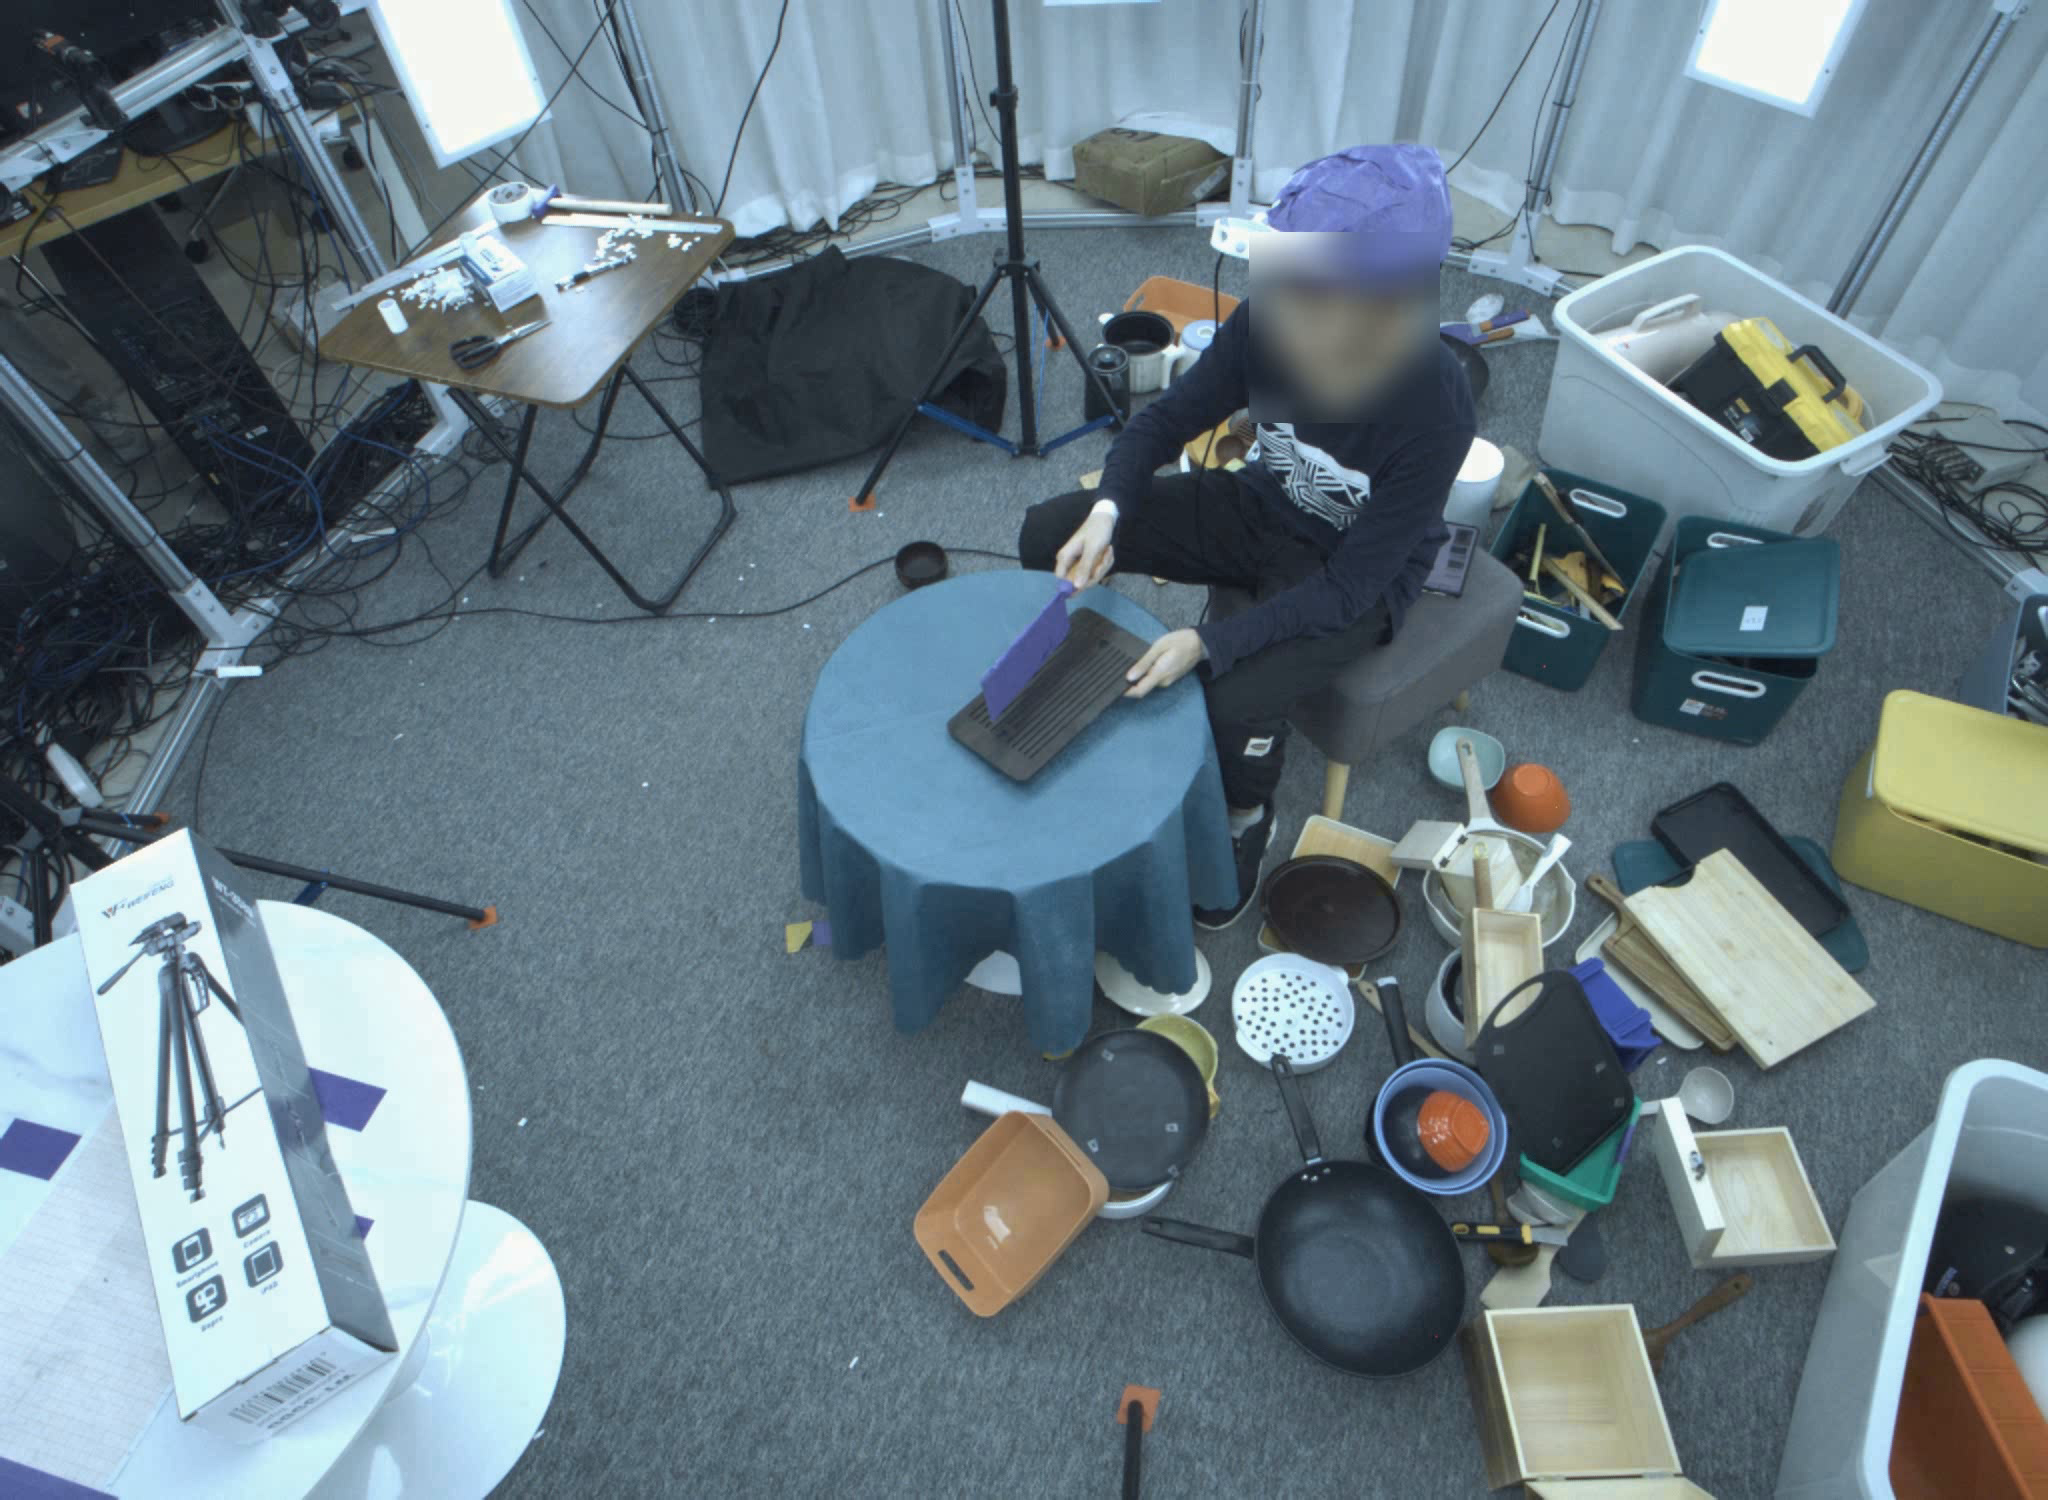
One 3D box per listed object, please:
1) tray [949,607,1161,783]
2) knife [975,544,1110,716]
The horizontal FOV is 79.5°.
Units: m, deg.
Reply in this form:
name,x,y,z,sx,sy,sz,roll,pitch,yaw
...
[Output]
name,x,y,z,sx,sy,sz,roll,pitch,yaw
tray,0.047,-0.085,1.825,0.167,0.019,0.308,35,65,29
knife,0.029,-0.178,1.815,0.031,0.105,0.317,27,61,27
